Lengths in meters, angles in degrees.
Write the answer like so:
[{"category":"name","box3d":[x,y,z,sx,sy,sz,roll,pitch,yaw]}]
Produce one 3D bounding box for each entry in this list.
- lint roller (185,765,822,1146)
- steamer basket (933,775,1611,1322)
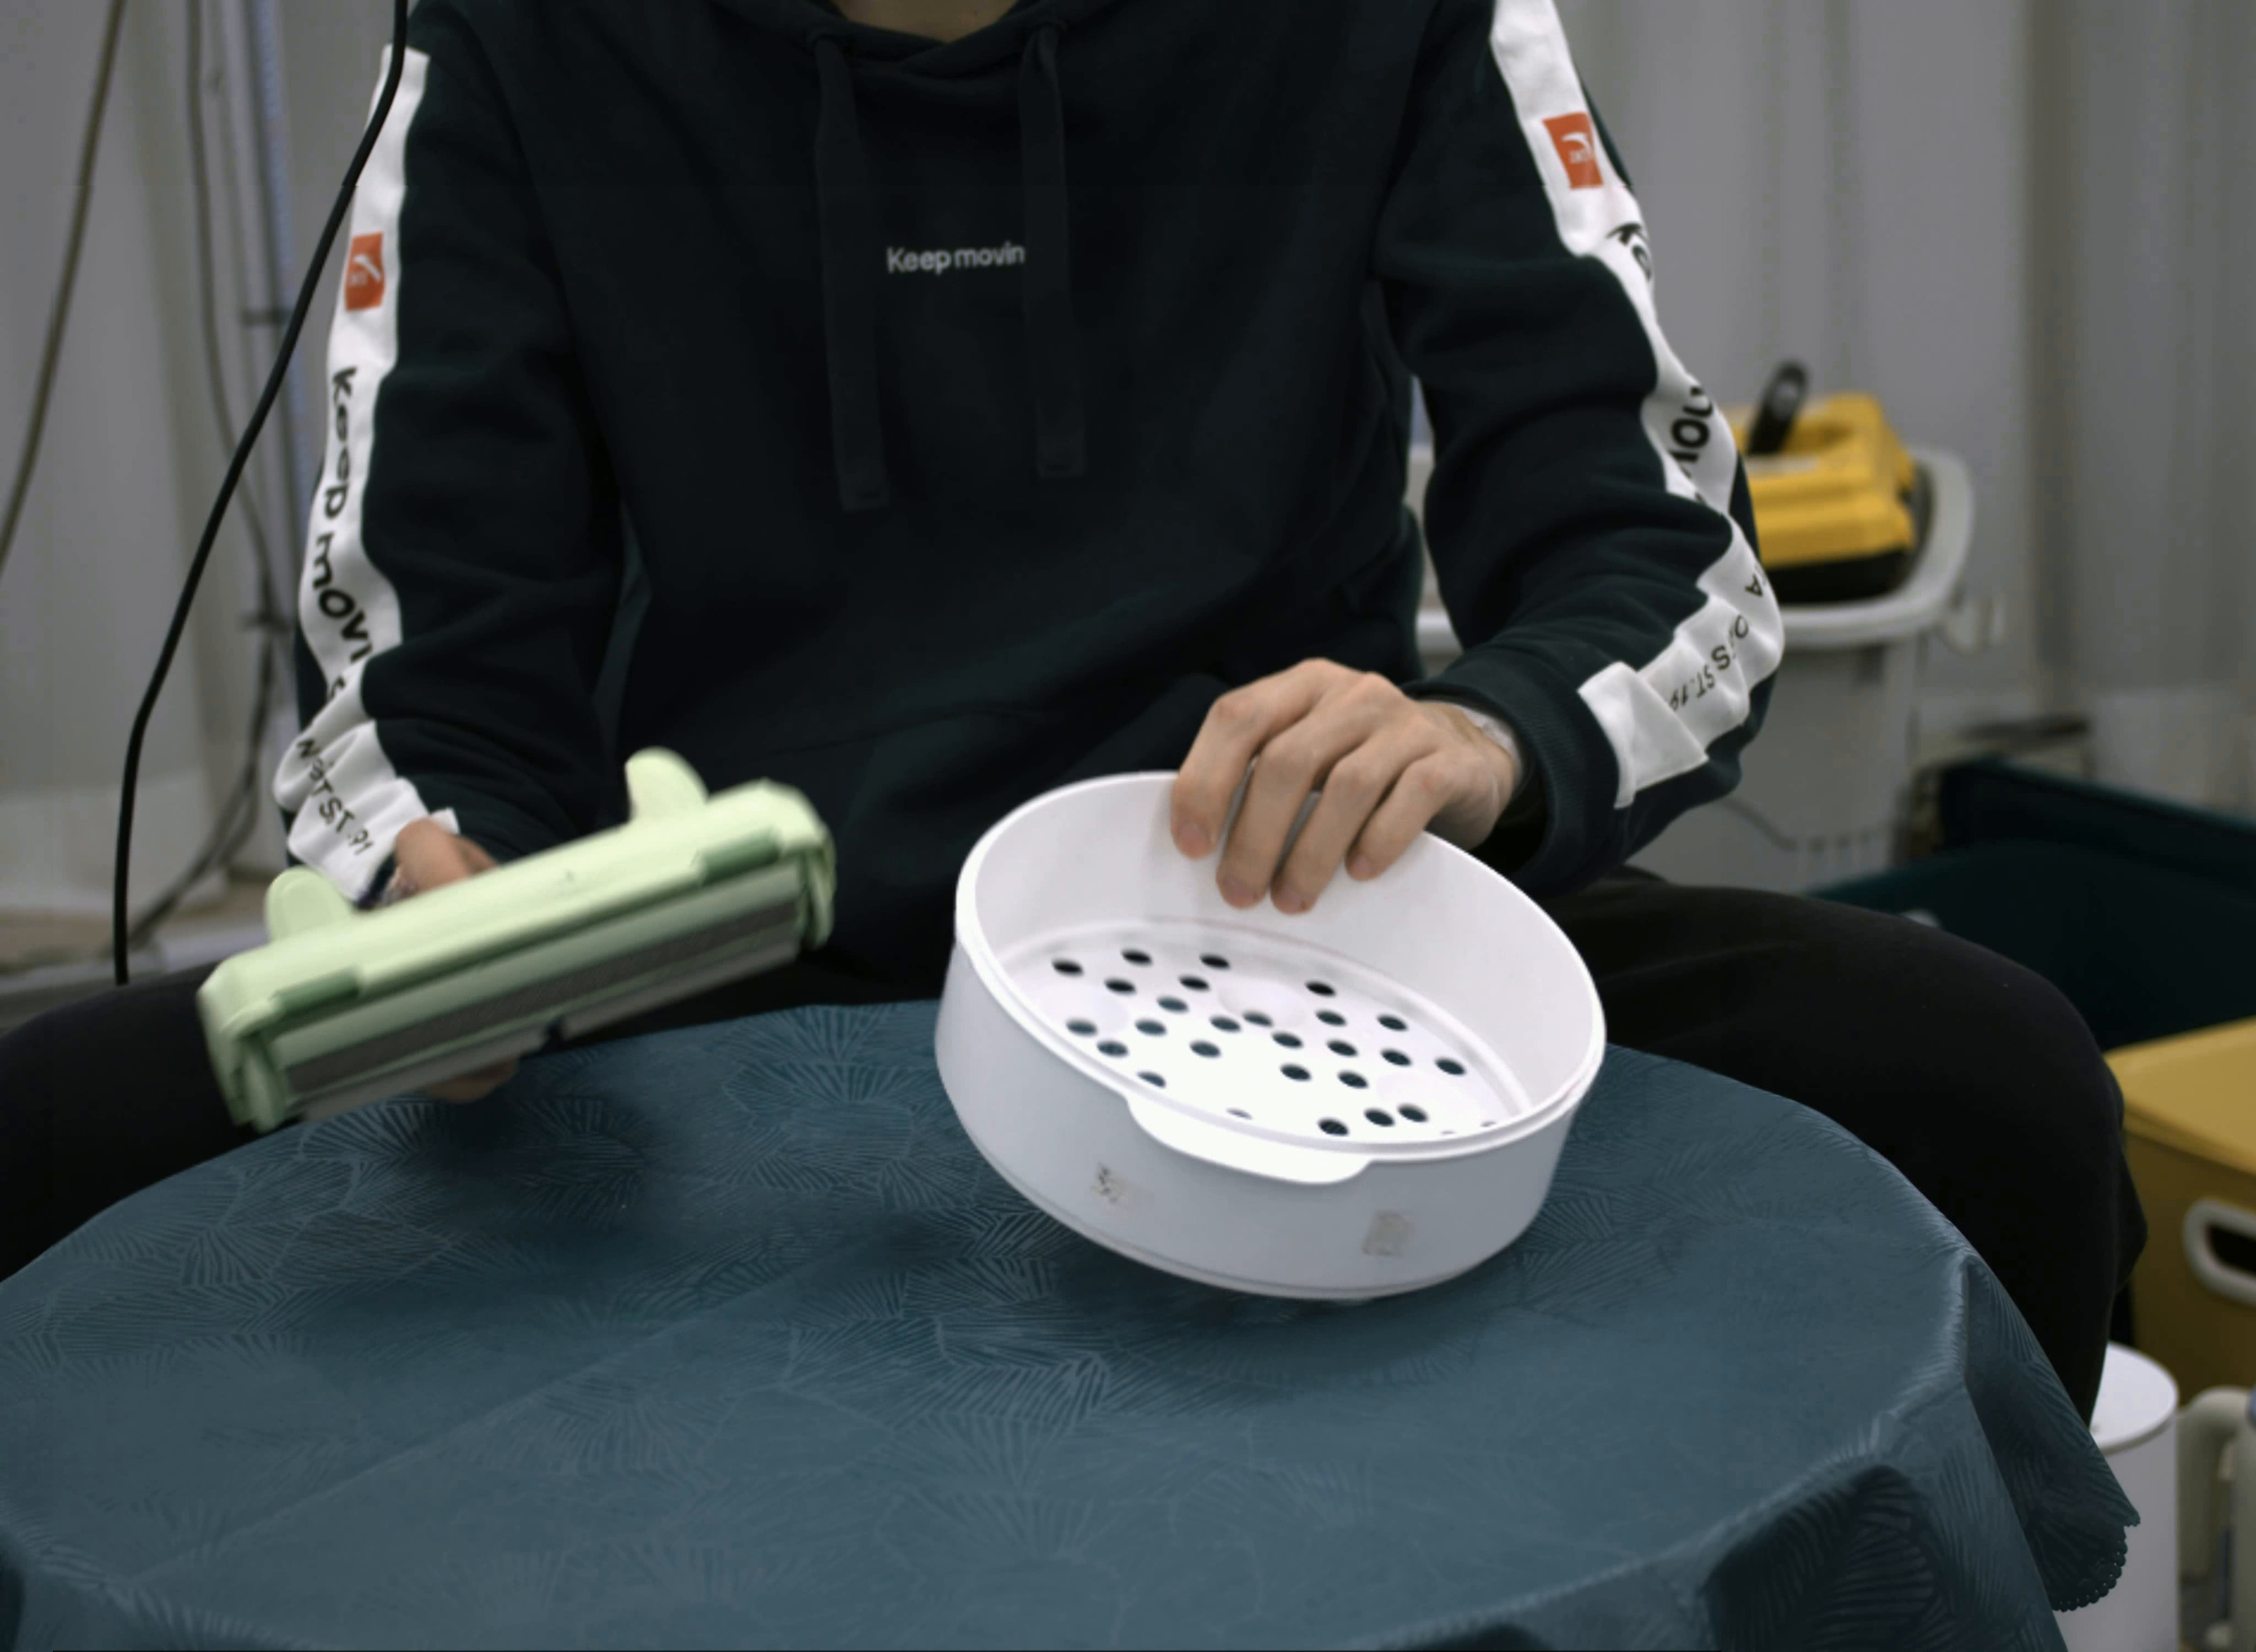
[{"category":"lint roller","box3d":[-0.208,0.037,1.737,0.198,0.082,0.184,-18,6,-15]},{"category":"steamer basket","box3d":[0.041,0.069,1.650,0.201,0.068,0.233,12,31,1]}]
